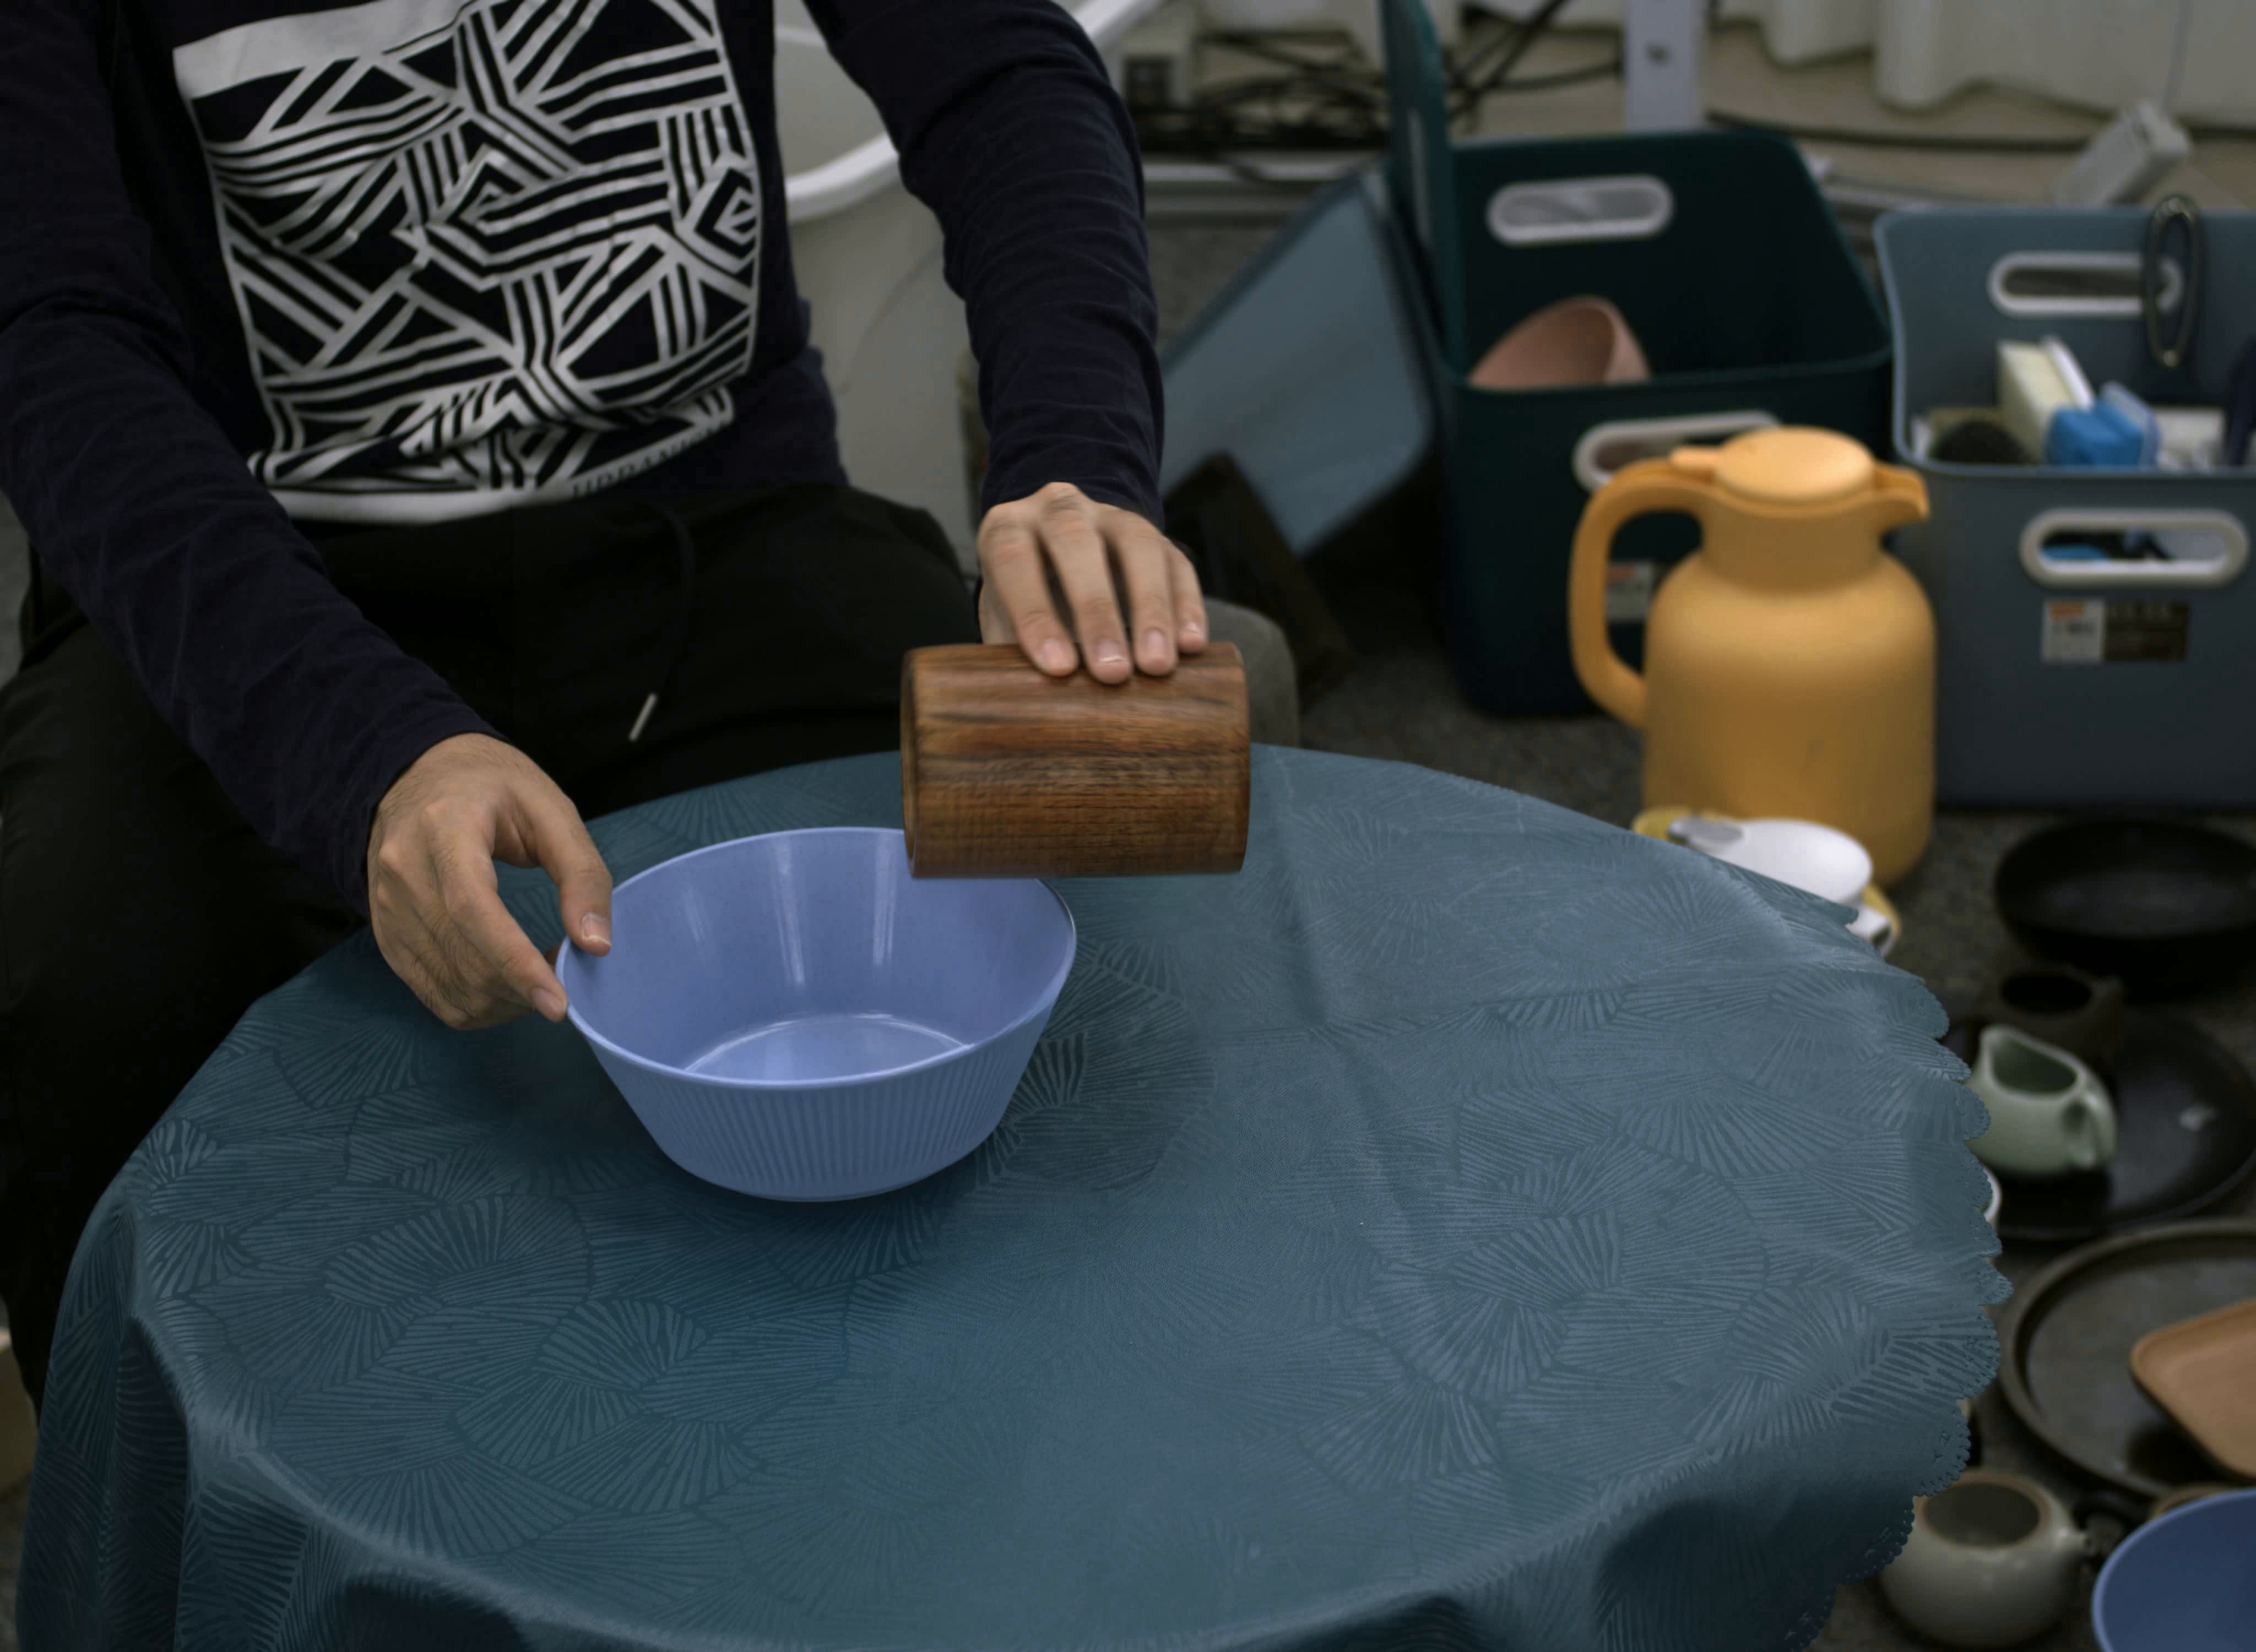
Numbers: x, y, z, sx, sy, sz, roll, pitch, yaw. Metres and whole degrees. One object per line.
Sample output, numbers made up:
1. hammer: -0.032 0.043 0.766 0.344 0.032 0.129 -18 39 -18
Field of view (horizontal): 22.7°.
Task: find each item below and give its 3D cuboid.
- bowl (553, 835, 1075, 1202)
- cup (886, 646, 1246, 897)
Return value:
1. bowl: -0.104 0.070 1.893 0.175 0.069 0.178 -2 26 1
2. cup: -0.022 -0.018 1.888 0.118 0.087 0.089 -1 27 -3
